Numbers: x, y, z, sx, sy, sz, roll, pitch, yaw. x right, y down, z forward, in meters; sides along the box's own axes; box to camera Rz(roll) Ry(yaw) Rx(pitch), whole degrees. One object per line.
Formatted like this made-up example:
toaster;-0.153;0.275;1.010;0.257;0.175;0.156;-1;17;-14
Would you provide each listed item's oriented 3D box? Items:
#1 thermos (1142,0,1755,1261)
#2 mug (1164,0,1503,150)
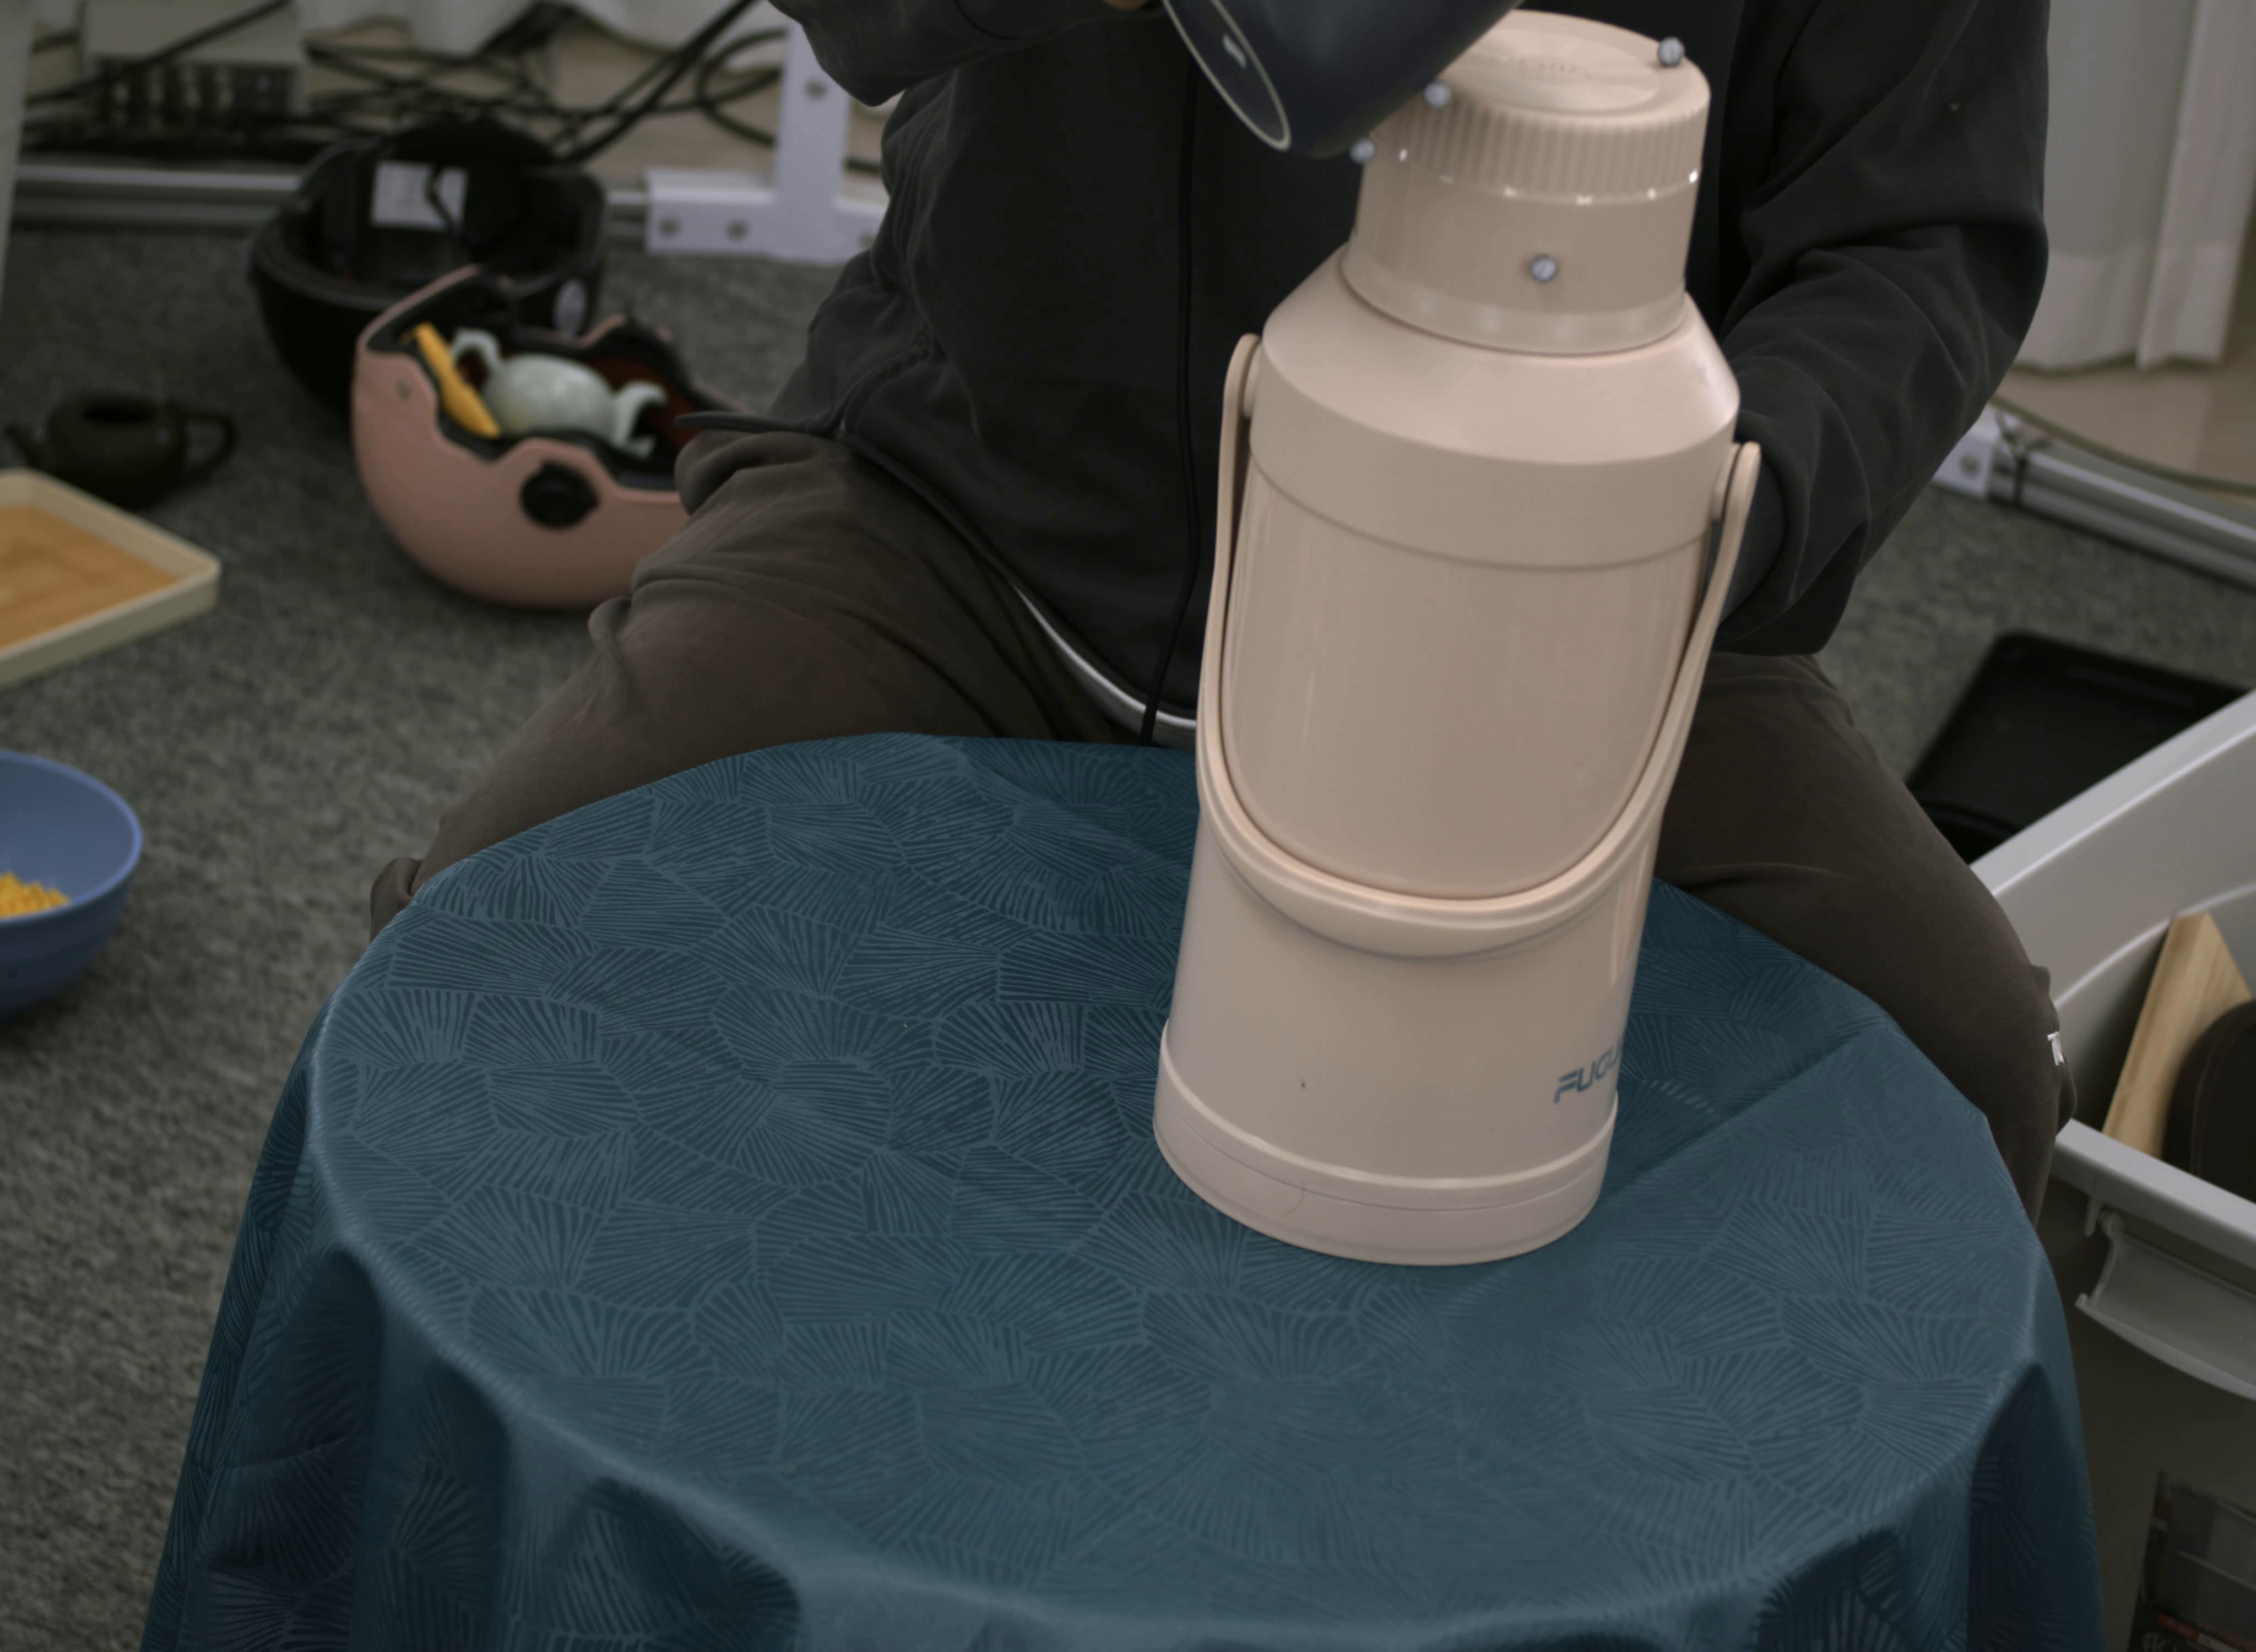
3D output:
thermos;0.112;-0.070;1.777;0.175;0.405;0.207;13;27;11
mug;0.055;-0.270;1.623;0.090;0.093;0.124;-36;39;-7
